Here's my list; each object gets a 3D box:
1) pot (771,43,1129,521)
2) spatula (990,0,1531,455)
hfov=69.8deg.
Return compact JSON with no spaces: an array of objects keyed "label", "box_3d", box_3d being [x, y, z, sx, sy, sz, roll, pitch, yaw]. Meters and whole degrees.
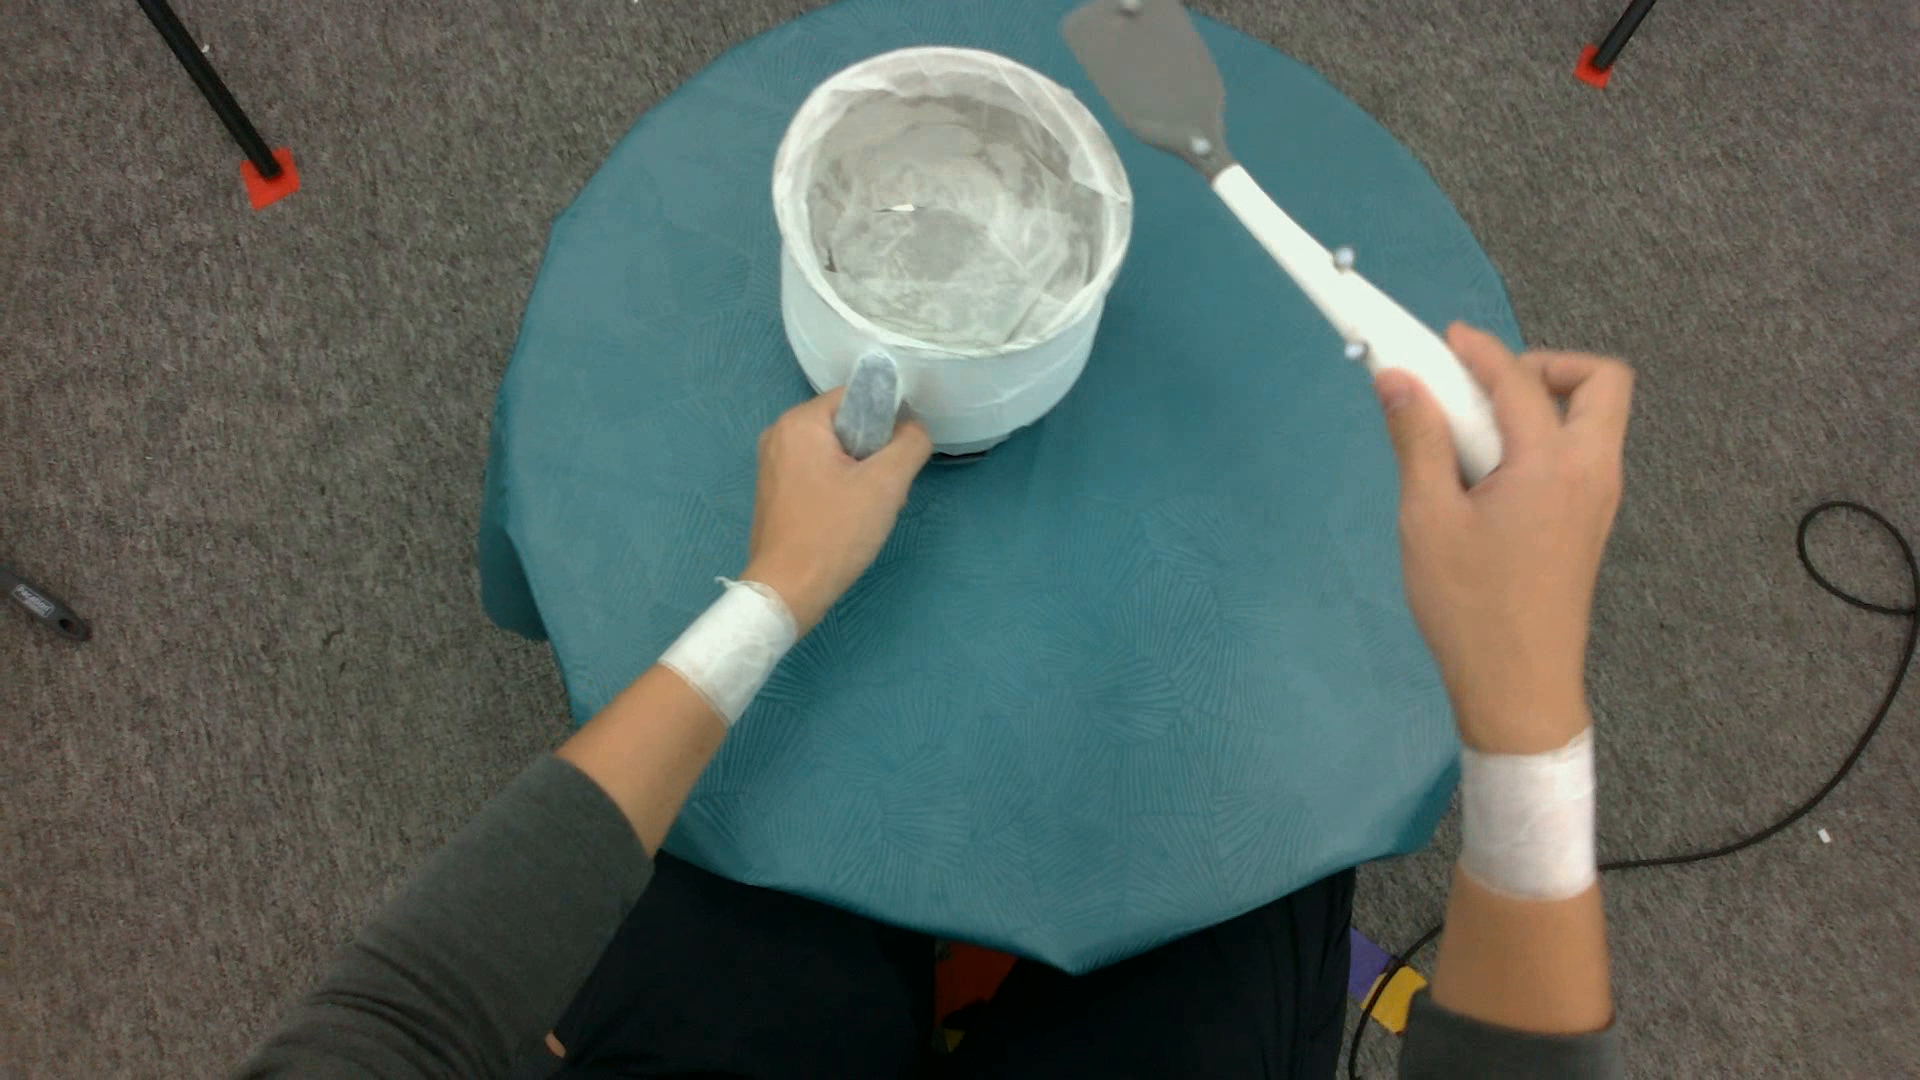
[{"label":"pot","box_3d":[-0.020,-0.126,0.725,0.179,0.136,0.234,21,69,2]},{"label":"spatula","box_3d":[0.115,-0.145,0.561,0.058,0.032,0.288,-40,68,4]}]
